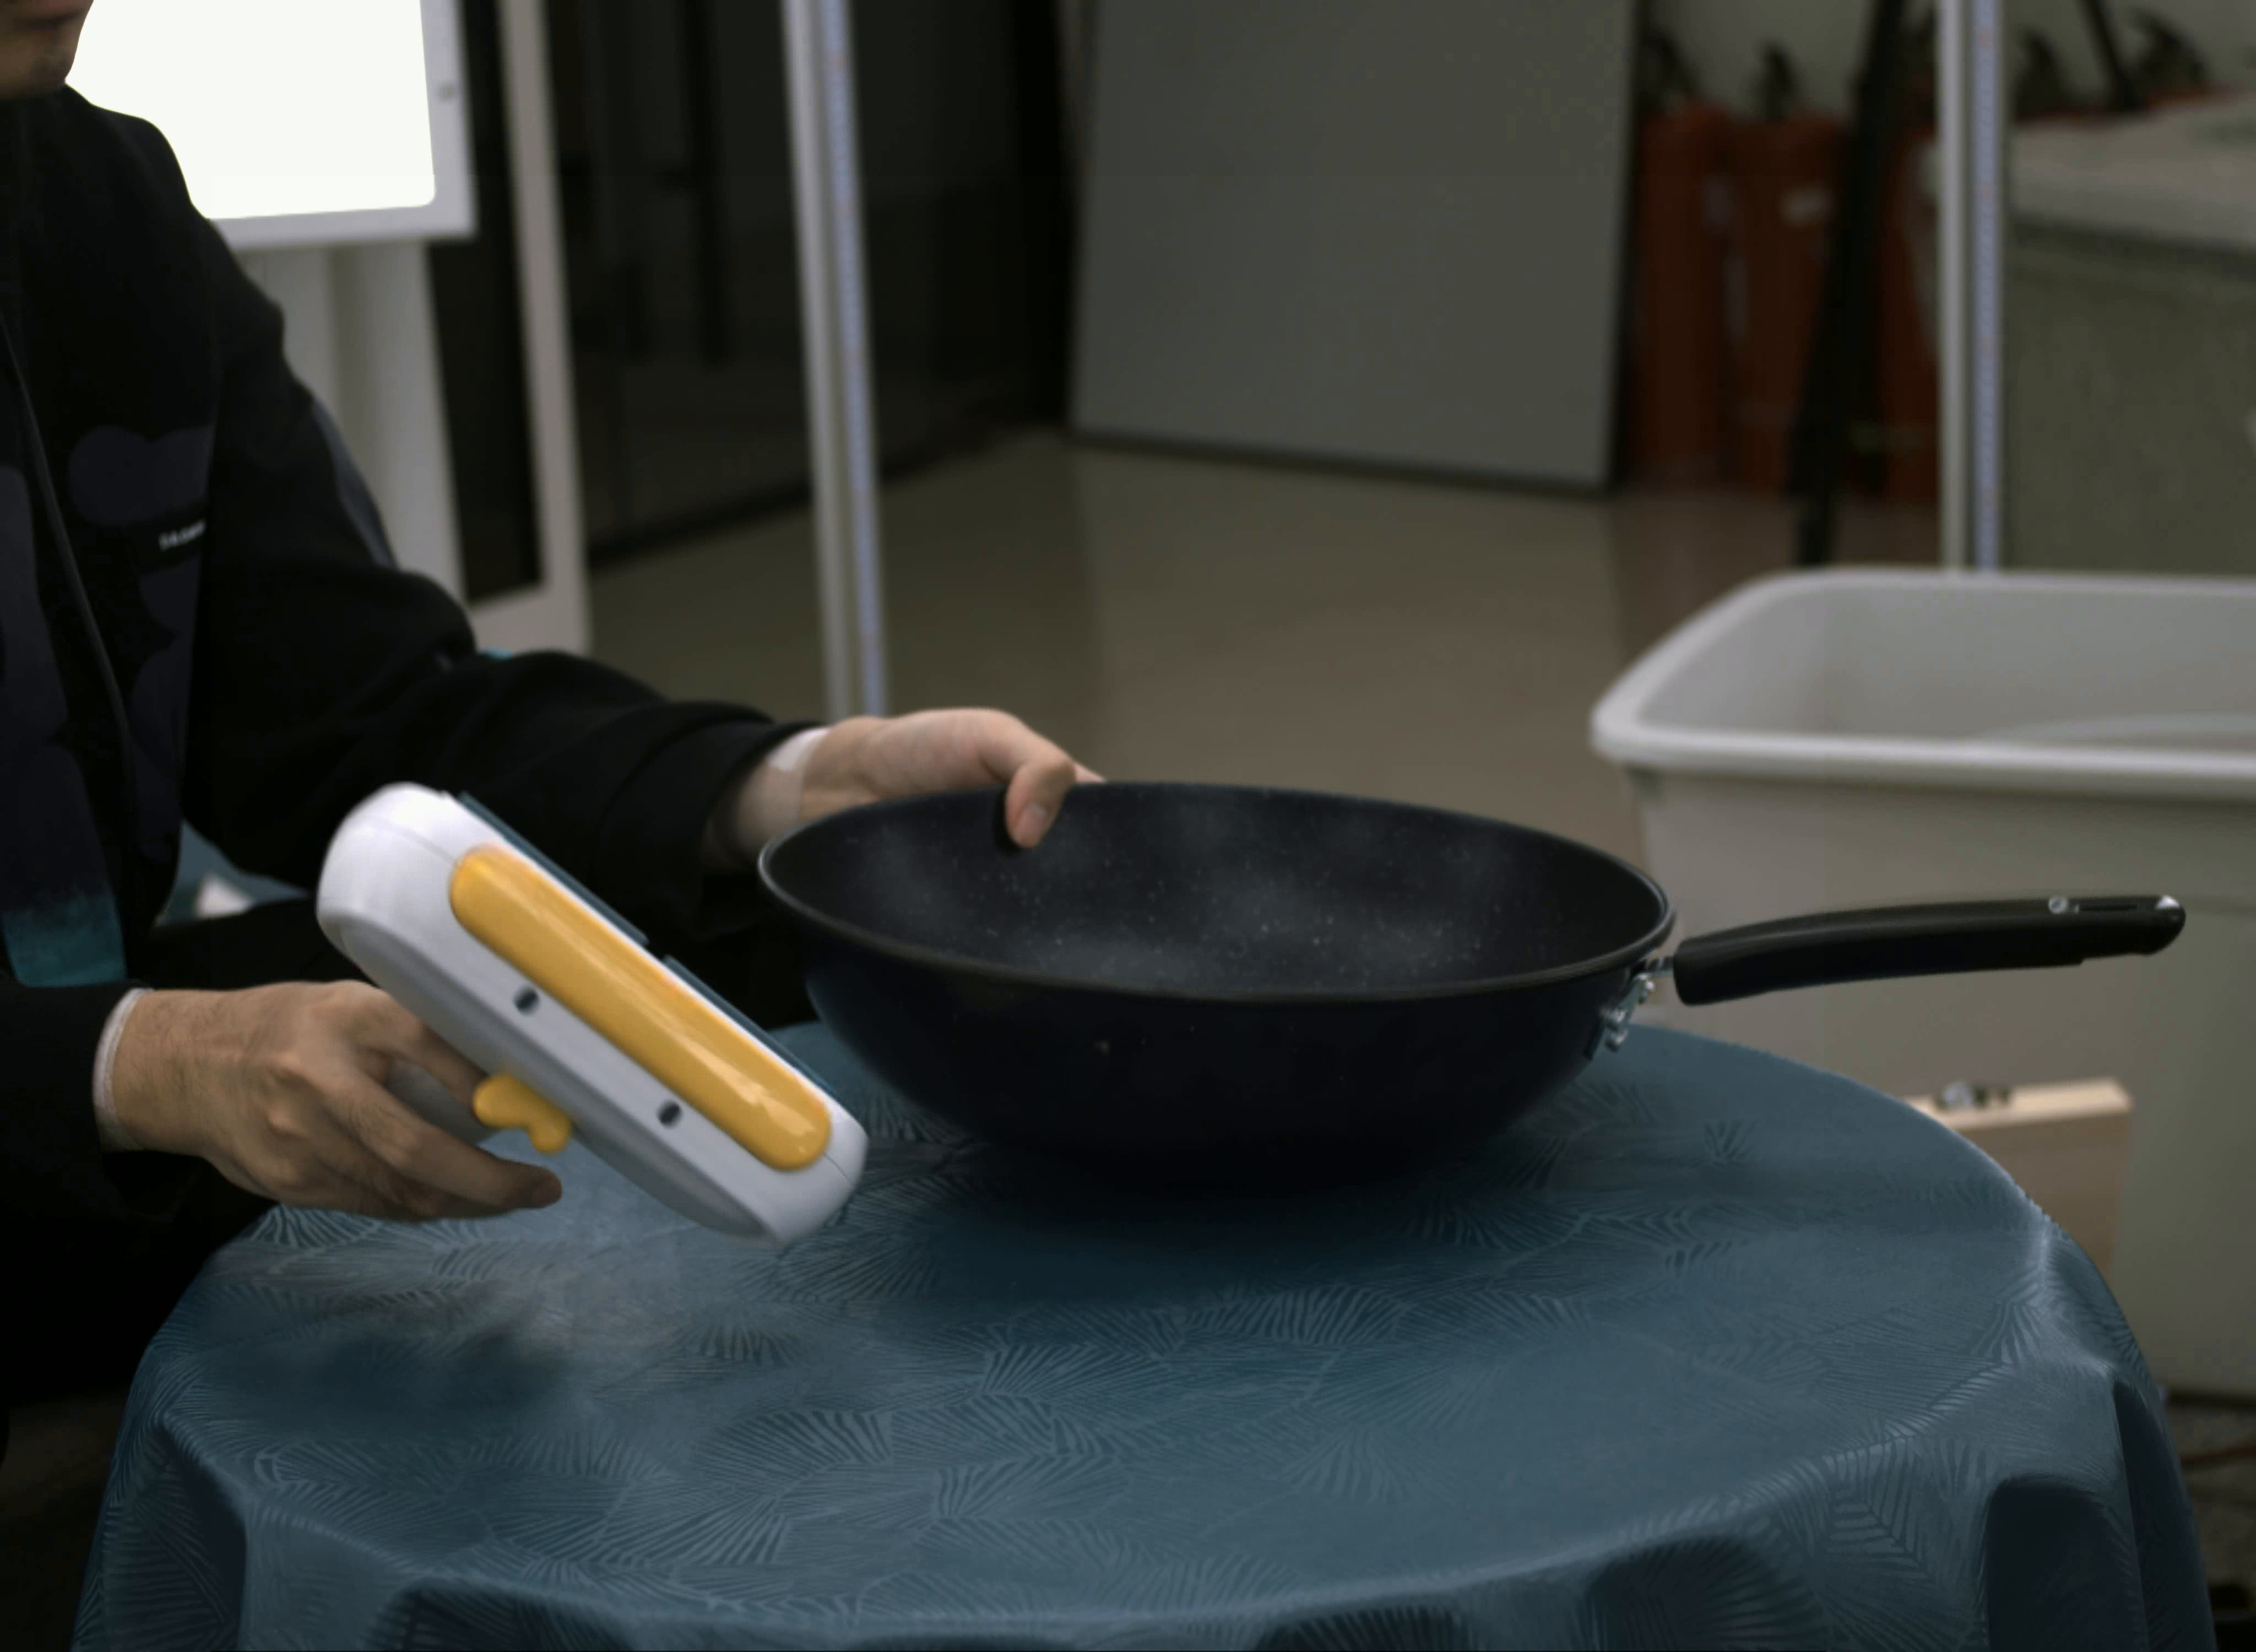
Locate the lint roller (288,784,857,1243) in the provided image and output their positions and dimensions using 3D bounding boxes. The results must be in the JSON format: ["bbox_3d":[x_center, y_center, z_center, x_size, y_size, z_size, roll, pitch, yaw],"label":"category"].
[{"bbox_3d":[-0.196,0.074,1.665,0.190,0.074,0.194,34,-26,-20],"label":"lint roller"}]

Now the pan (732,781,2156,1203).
[{"bbox_3d":[0.099,0.056,1.777,0.476,0.113,0.307,5,14,19],"label":"pan"}]
